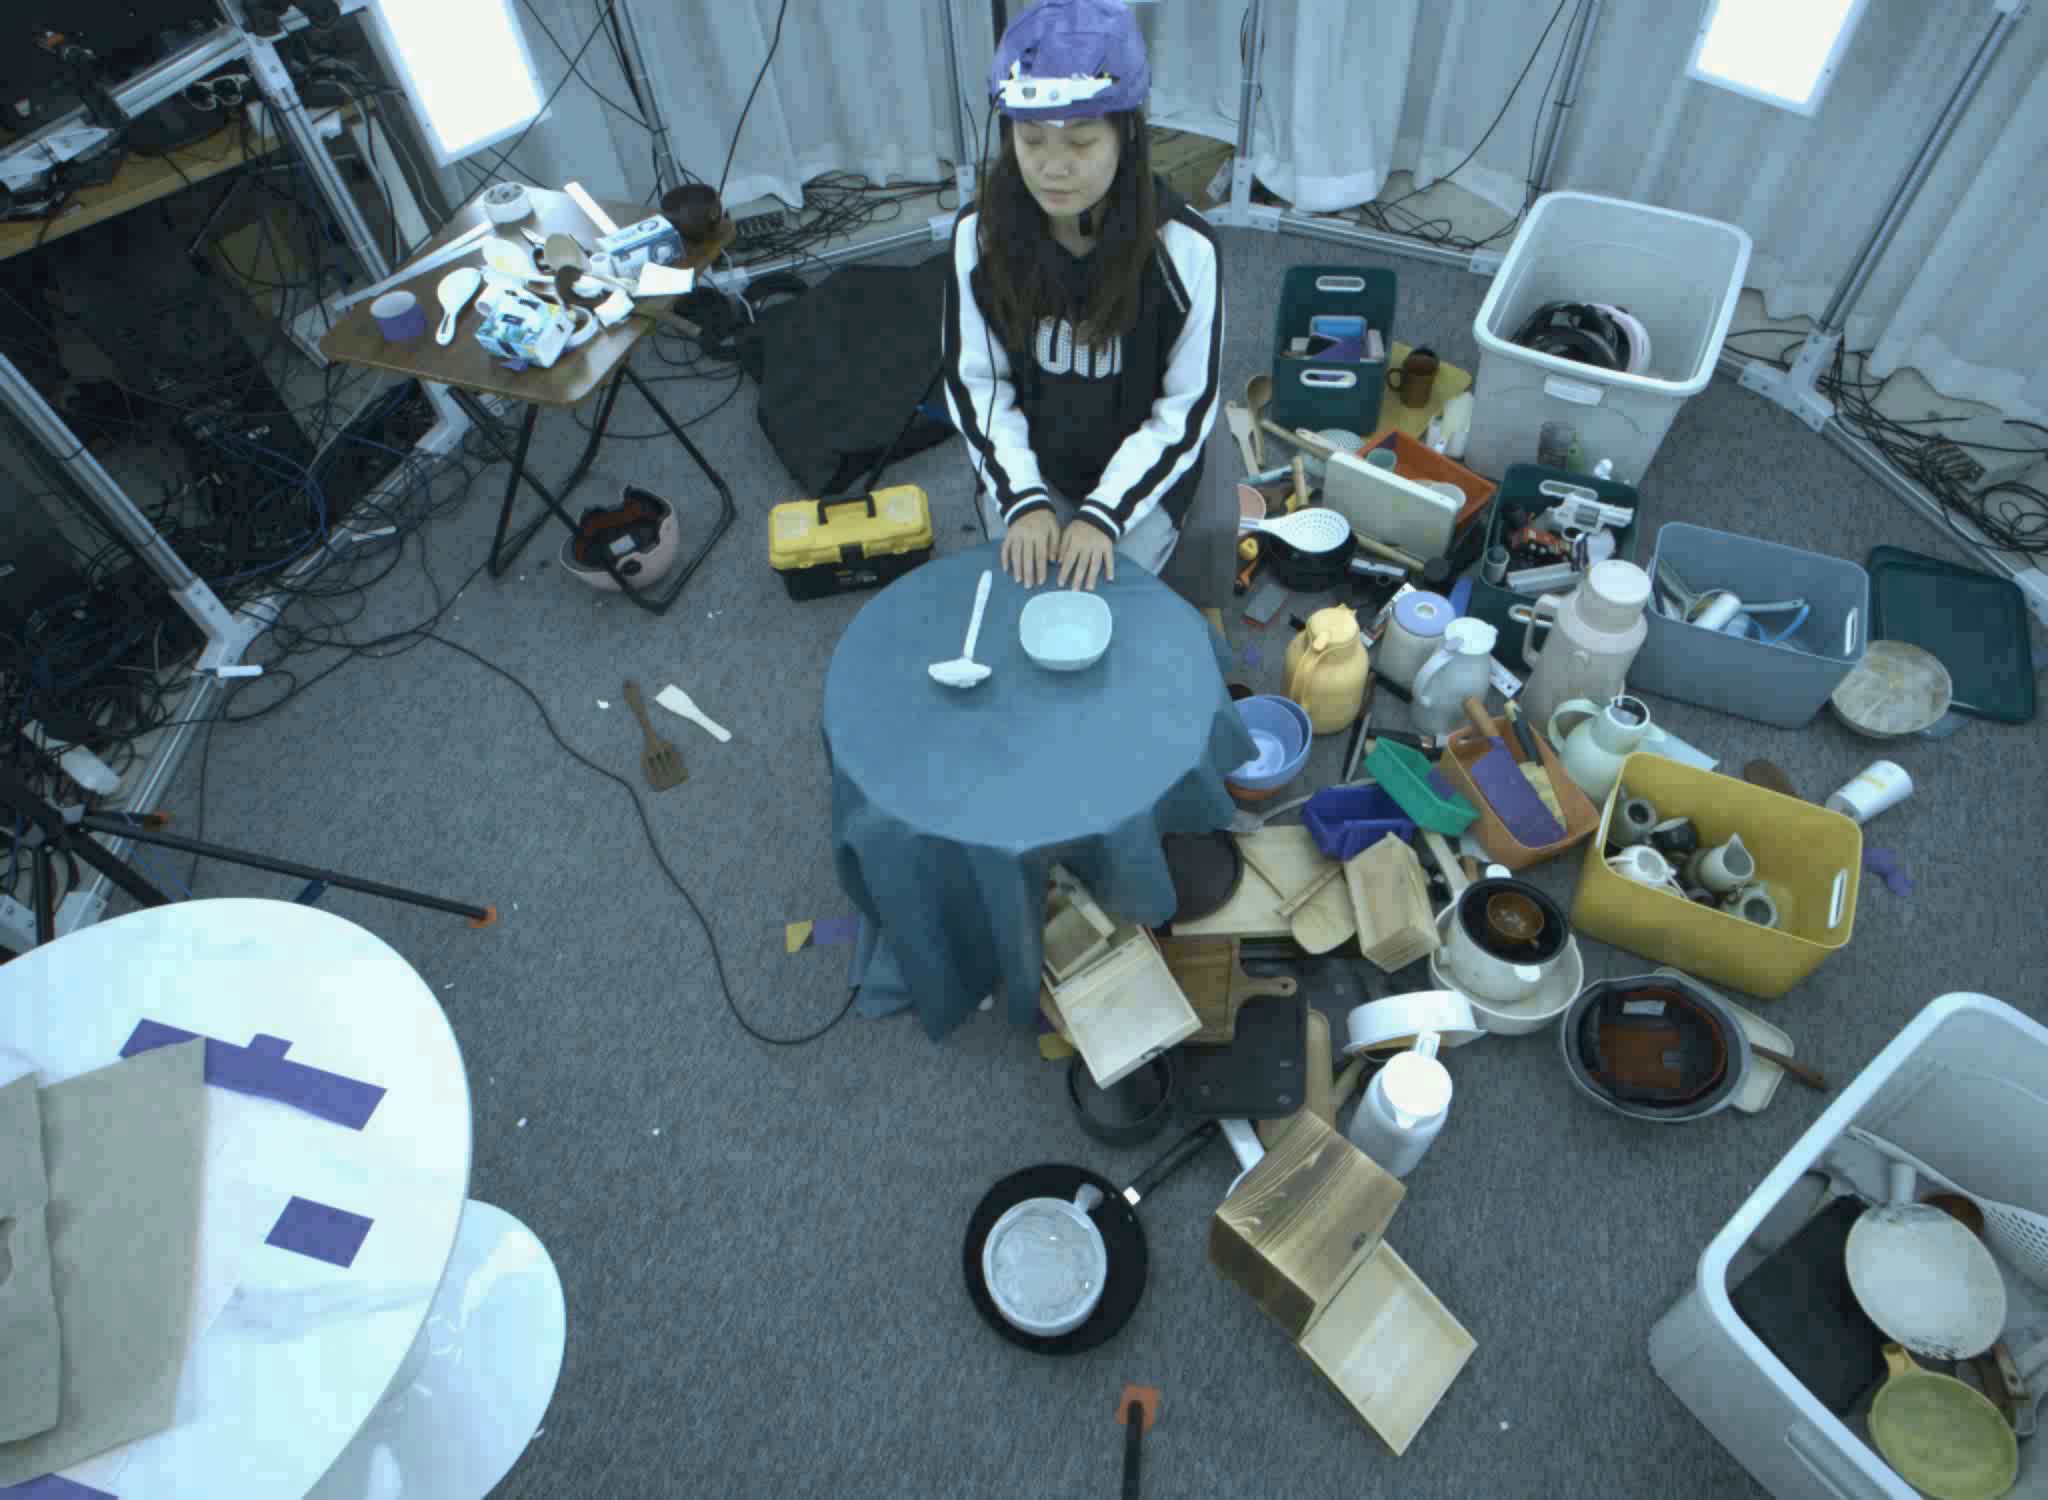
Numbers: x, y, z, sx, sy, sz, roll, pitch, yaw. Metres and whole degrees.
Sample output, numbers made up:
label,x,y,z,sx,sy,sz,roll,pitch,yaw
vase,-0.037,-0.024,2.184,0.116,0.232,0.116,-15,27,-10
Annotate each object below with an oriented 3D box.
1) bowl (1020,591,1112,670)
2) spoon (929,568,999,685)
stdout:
label,x,y,z,sx,sy,sz,roll,pitch,yaw
bowl,0.064,-0.173,1.876,0.151,0.059,0.150,0,55,2
spoon,-0.072,-0.198,1.895,0.100,0.060,0.276,12,56,5
